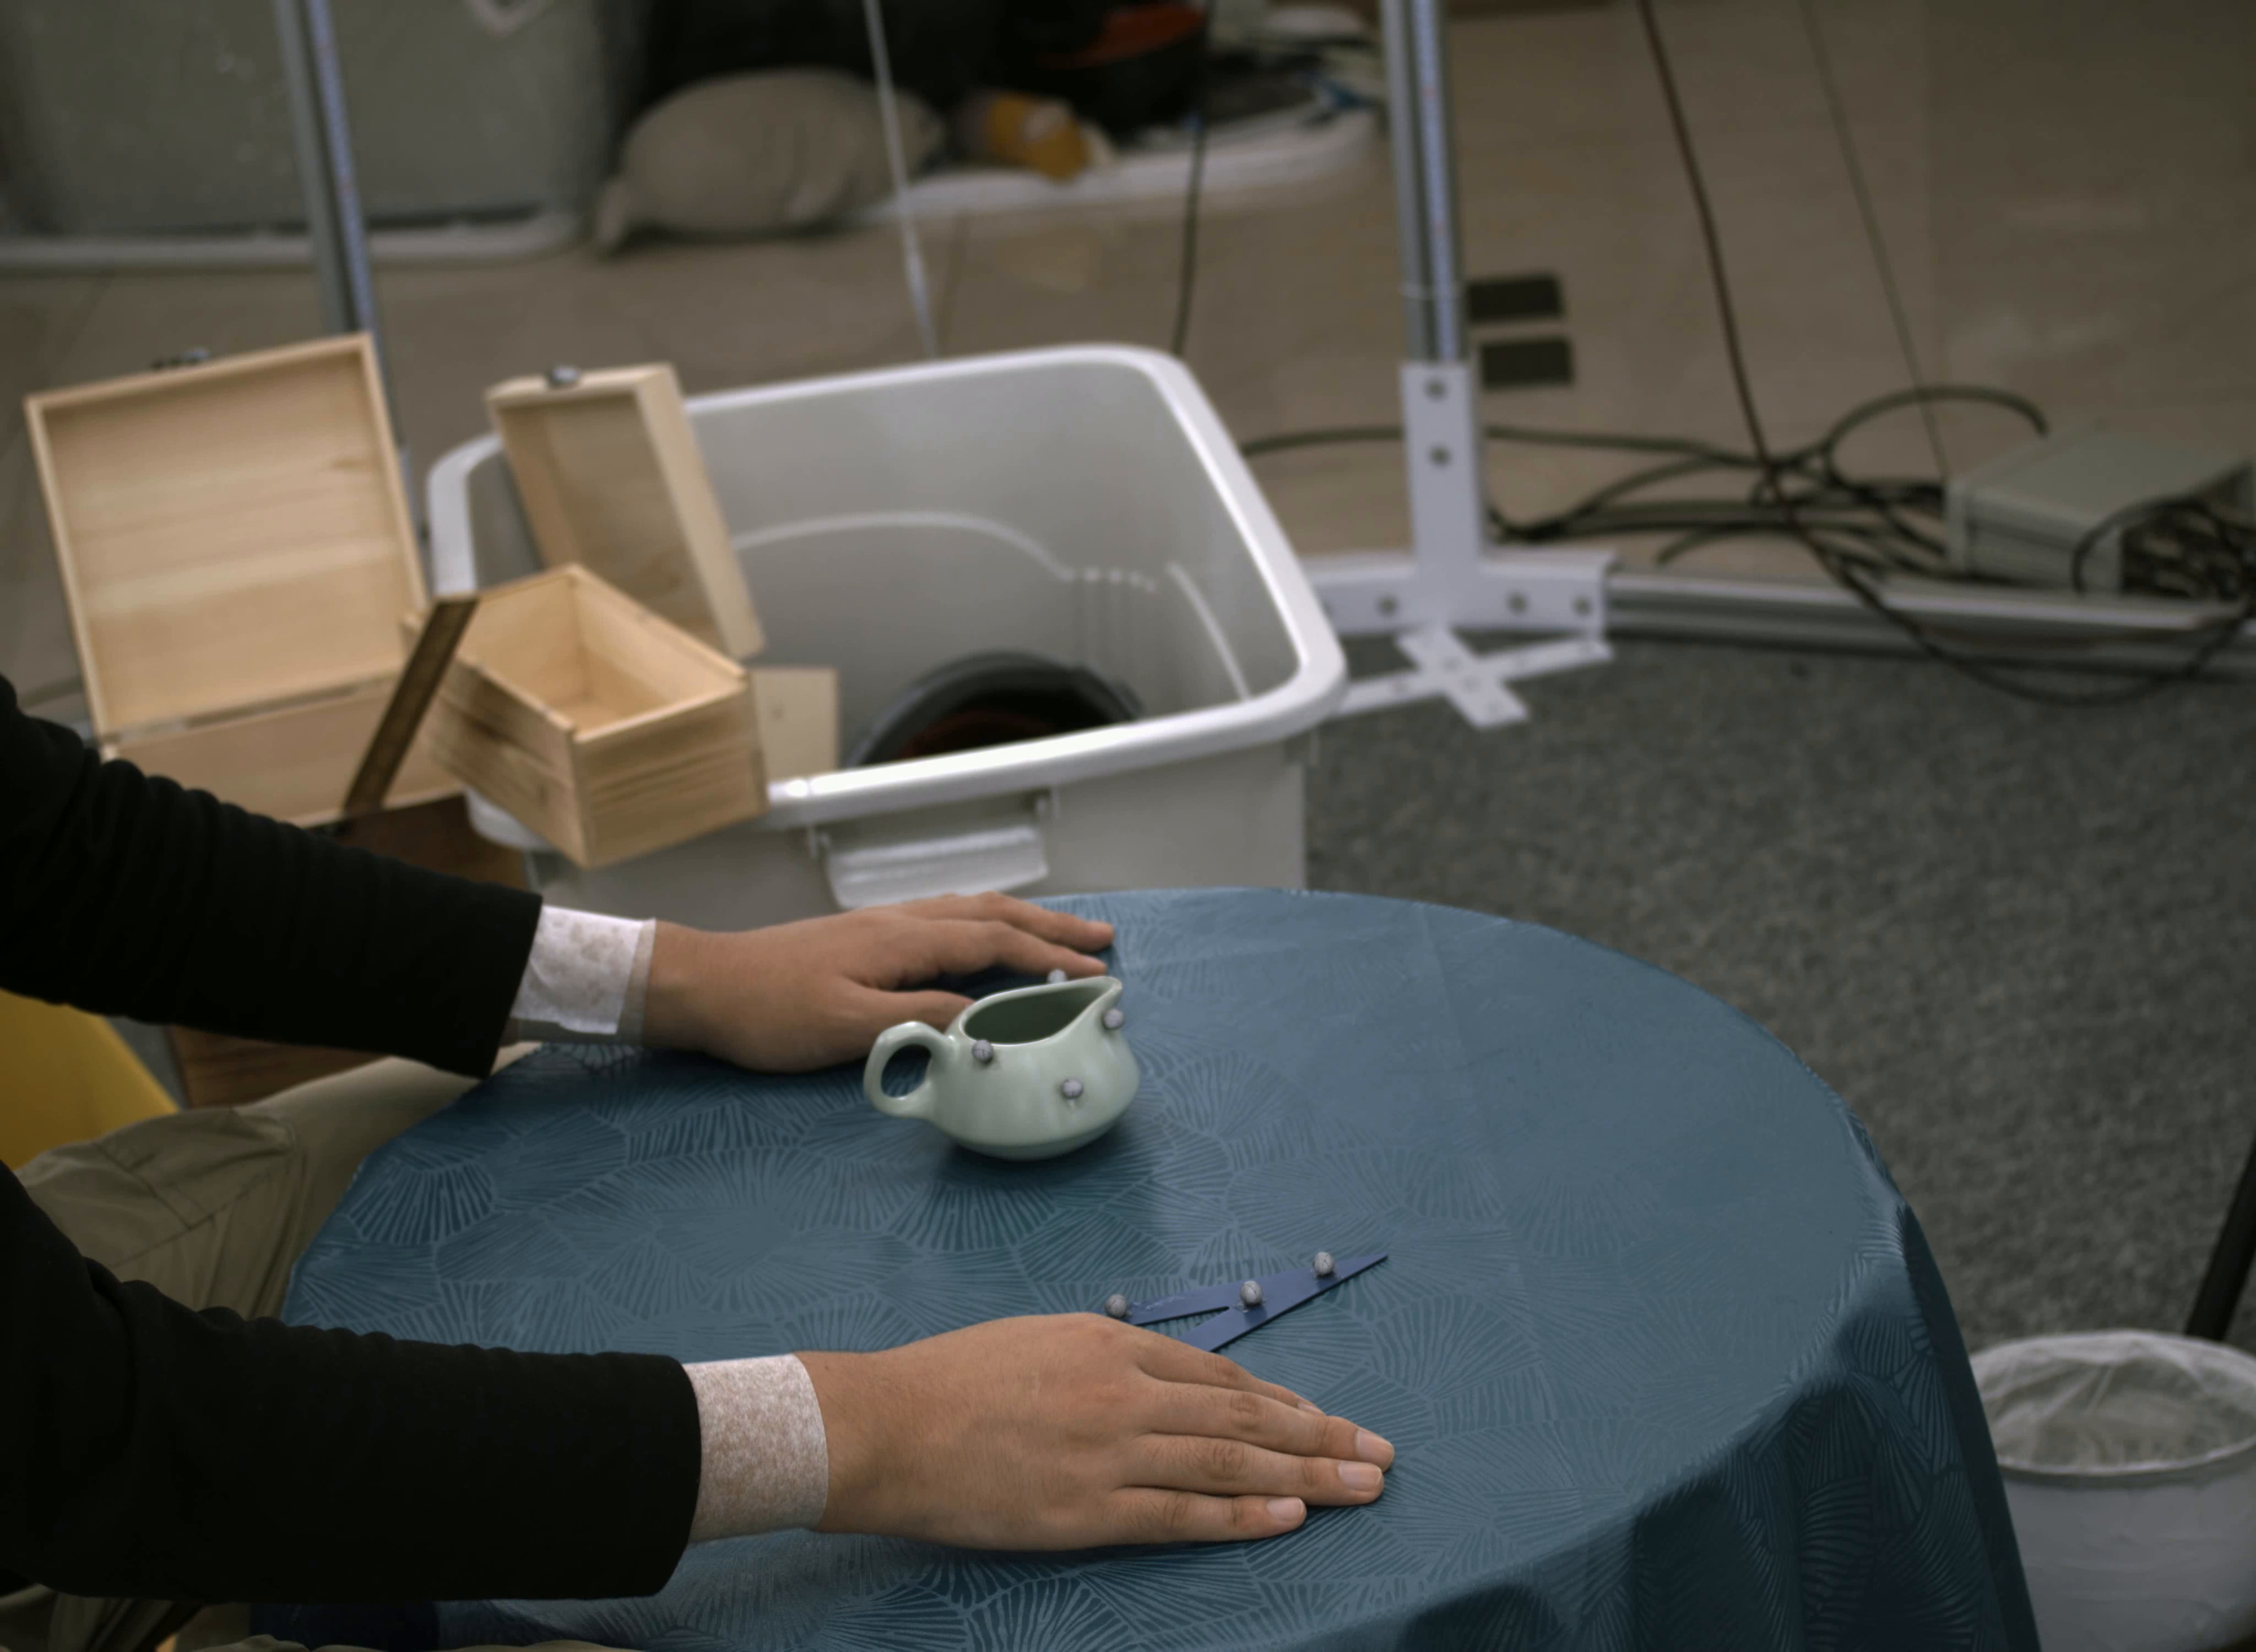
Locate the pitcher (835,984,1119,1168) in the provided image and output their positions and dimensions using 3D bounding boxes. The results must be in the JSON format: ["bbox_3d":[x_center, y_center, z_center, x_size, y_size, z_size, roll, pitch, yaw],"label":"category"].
[{"bbox_3d":[-0.060,0.092,2.181,0.108,0.061,0.084,8,34,-9],"label":"pitcher"}]

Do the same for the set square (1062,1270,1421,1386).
[{"bbox_3d":[0.044,0.181,2.043,0.132,0.006,0.060,-8,24,-5],"label":"set square"}]
